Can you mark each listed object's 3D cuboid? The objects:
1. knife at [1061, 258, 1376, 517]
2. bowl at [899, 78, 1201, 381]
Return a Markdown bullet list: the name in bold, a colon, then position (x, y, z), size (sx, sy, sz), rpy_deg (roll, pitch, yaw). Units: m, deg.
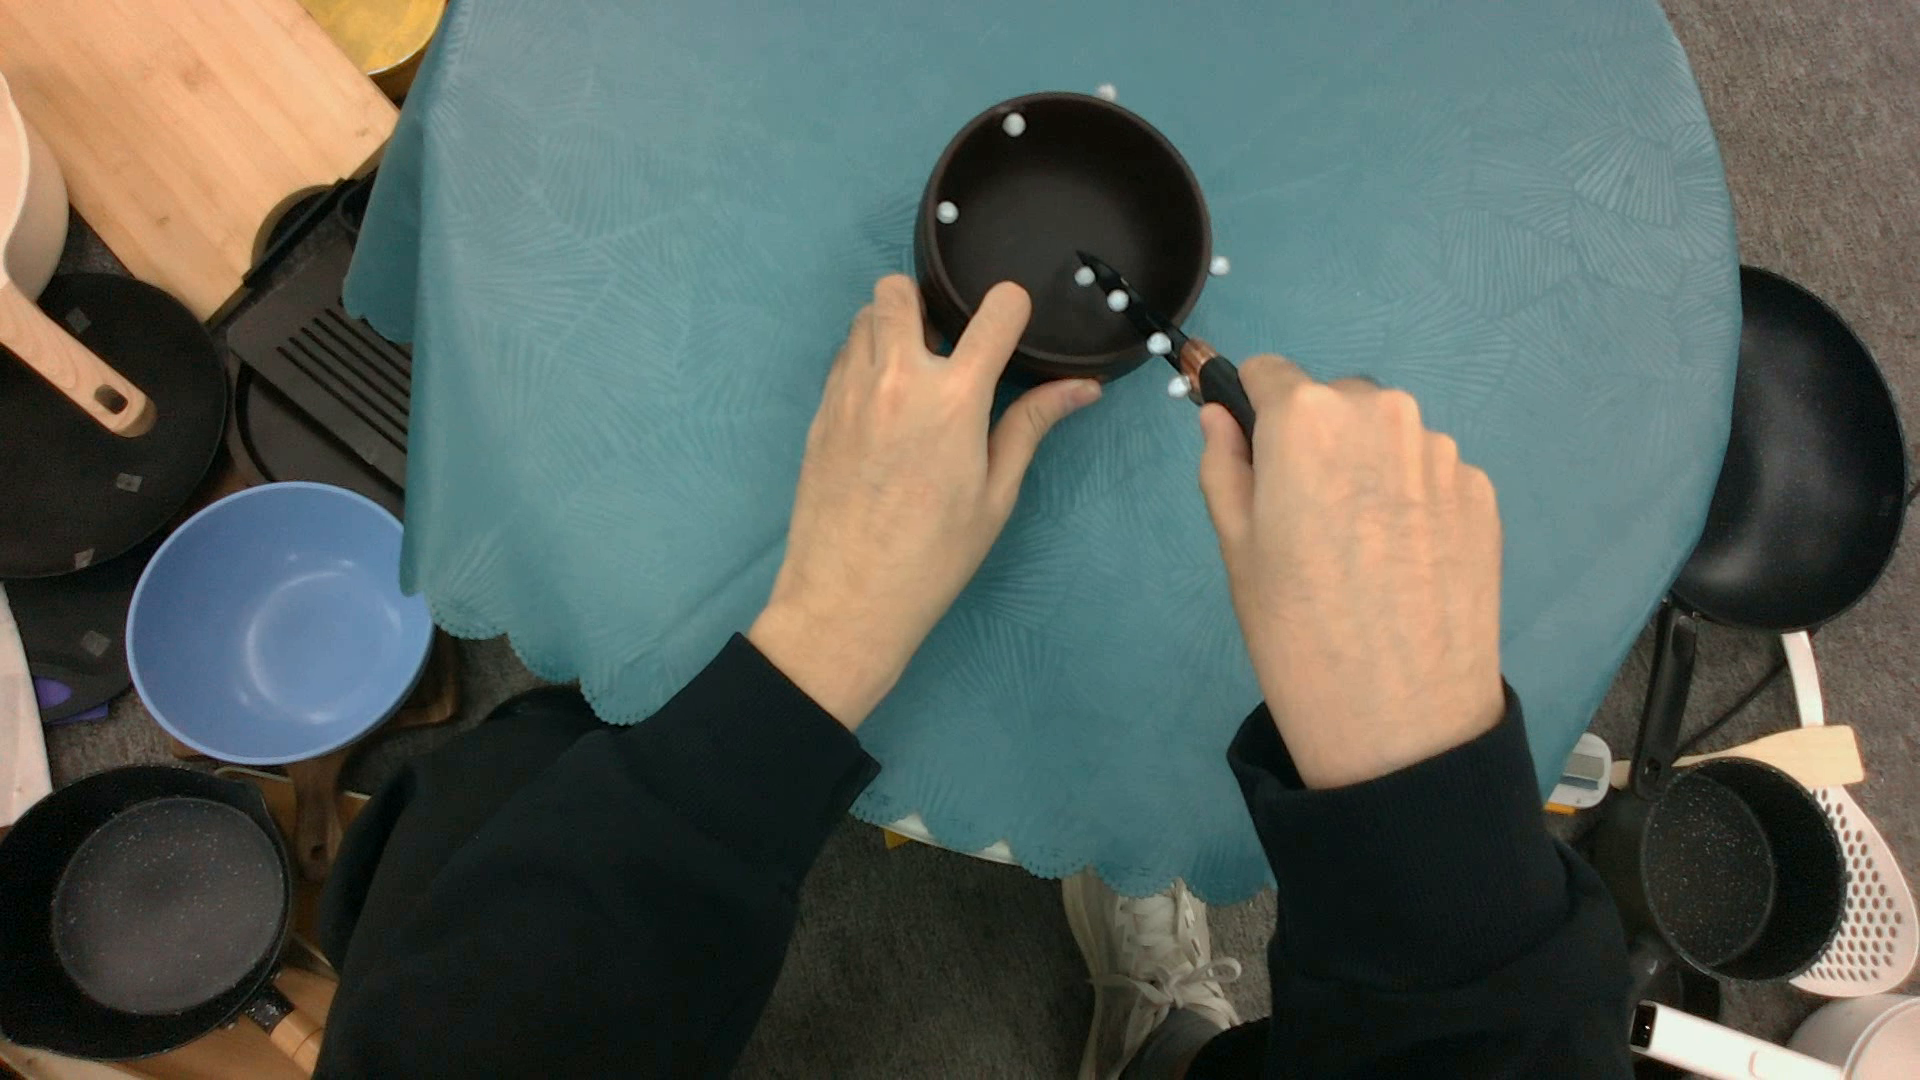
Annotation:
- **knife**: position (0.079, -0.067, 0.490), size (0.017, 0.226, 0.026), rpy_deg (-28, 126, -4)
- **bowl**: position (0.033, -0.120, 0.564), size (0.118, 0.069, 0.118), rpy_deg (2, 78, -8)
